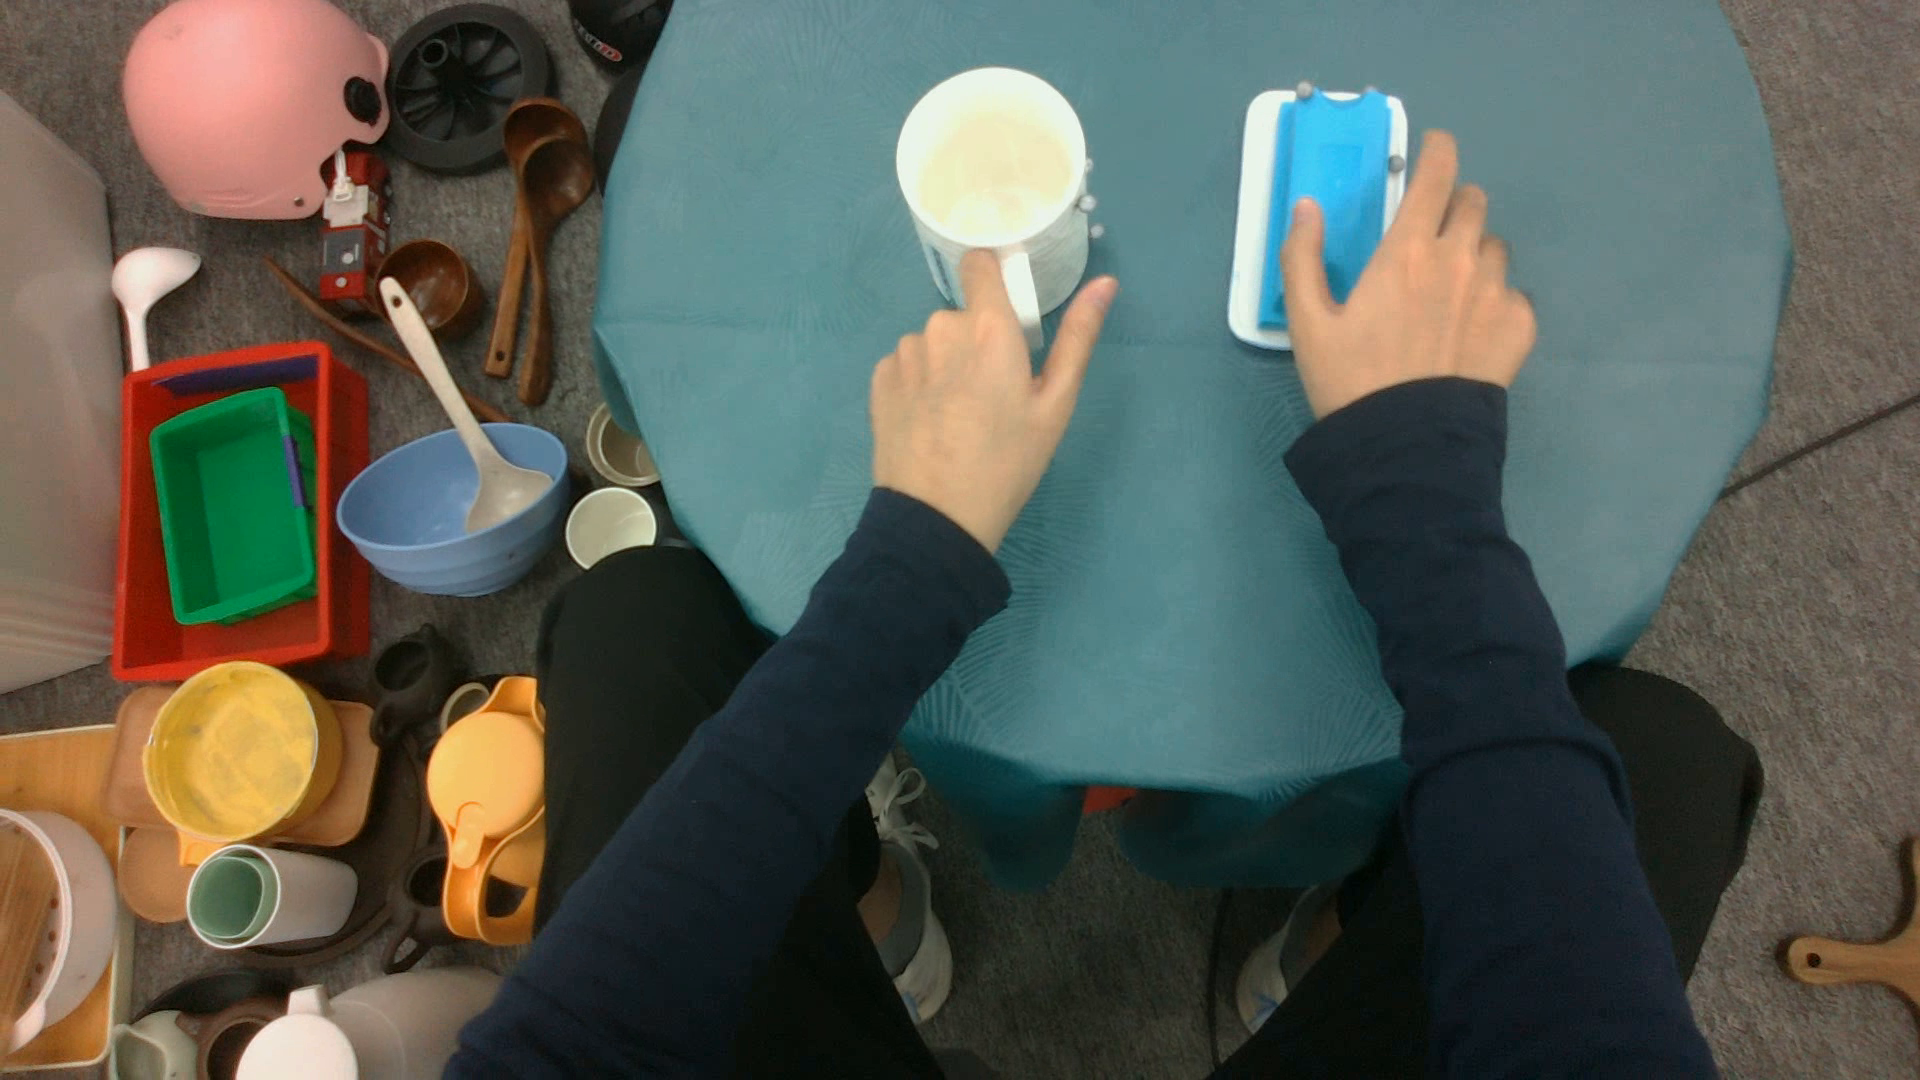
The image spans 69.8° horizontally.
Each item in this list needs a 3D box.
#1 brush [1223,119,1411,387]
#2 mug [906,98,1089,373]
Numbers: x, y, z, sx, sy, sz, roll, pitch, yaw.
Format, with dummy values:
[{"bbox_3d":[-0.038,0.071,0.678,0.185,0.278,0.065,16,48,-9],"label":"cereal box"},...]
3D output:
[{"bbox_3d":[0.179,-0.149,0.685,0.084,0.056,0.144,7,74,12],"label":"brush"},{"bbox_3d":[0.025,-0.138,0.678,0.085,0.102,0.118,-13,74,1],"label":"mug"}]
